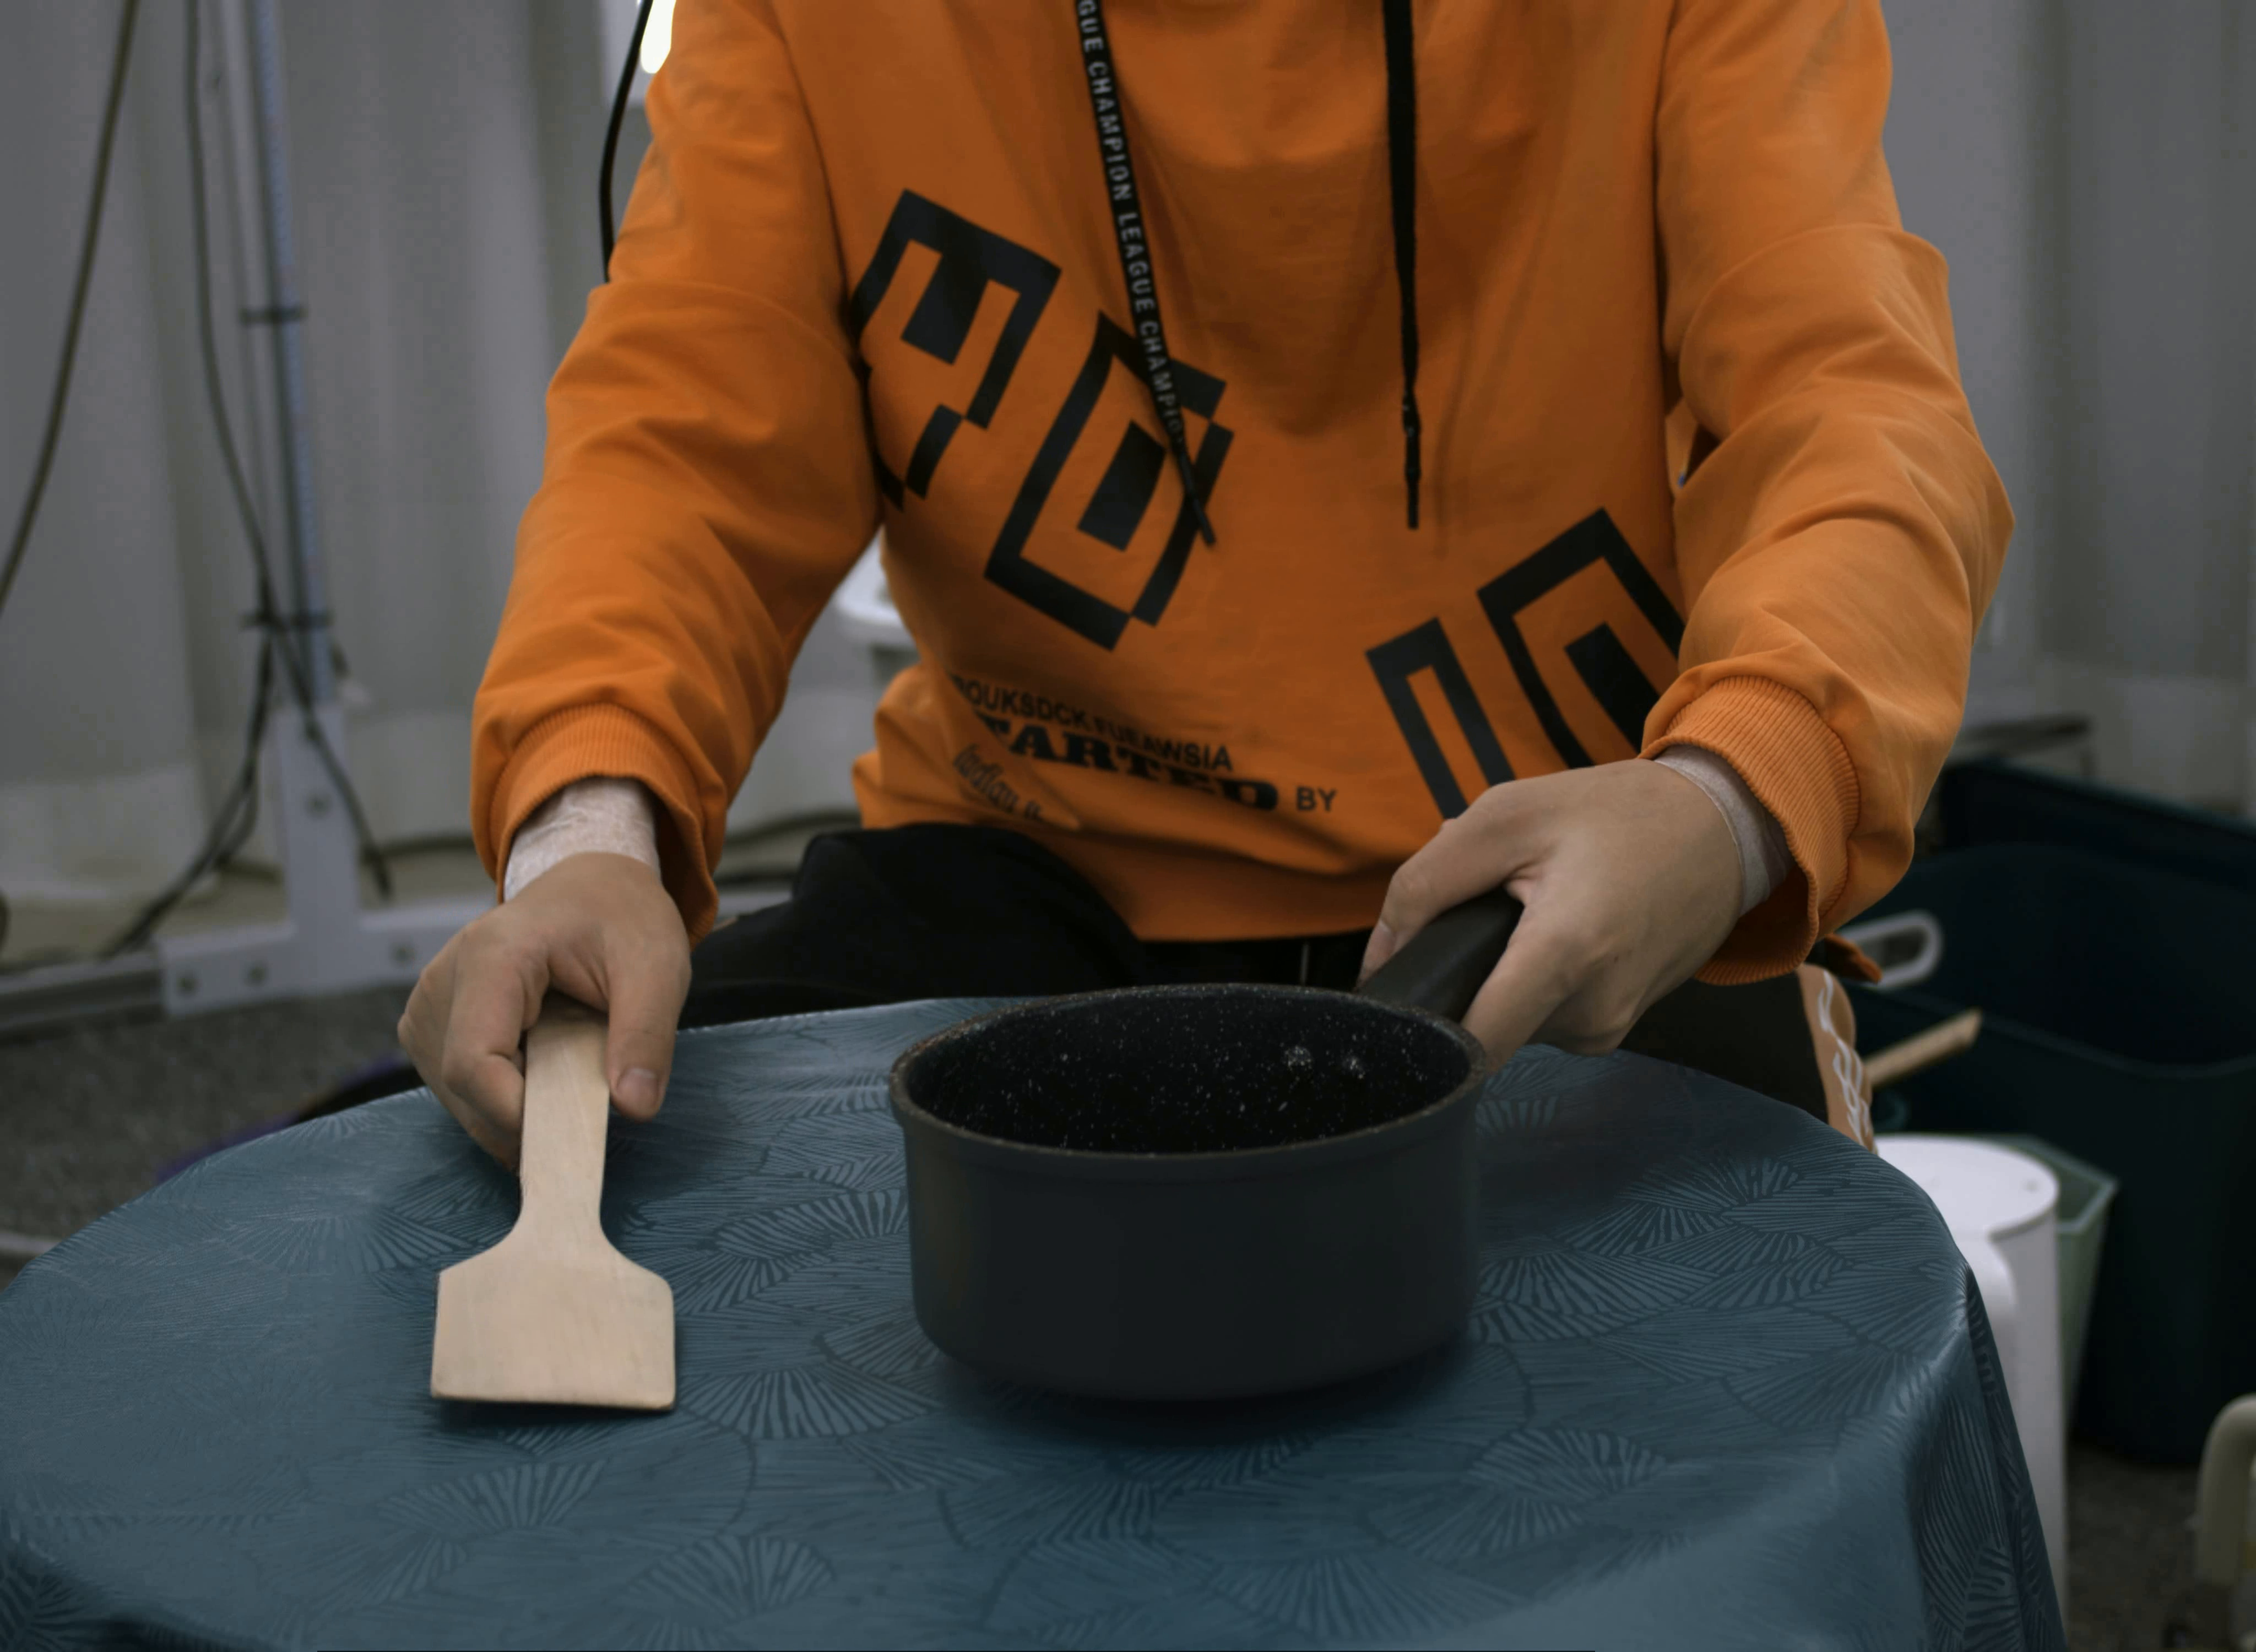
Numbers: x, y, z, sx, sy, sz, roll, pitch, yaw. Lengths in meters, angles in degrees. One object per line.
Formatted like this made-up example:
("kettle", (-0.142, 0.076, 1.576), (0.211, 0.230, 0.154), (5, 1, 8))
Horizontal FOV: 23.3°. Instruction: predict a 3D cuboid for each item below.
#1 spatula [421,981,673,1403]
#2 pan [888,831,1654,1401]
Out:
("spatula", (-0.174, 0.109, 1.681), (0.072, 0.010, 0.296), (2, 22, -5))
("pan", (0.062, 0.082, 1.624), (0.172, 0.086, 0.329), (8, 19, 33))
